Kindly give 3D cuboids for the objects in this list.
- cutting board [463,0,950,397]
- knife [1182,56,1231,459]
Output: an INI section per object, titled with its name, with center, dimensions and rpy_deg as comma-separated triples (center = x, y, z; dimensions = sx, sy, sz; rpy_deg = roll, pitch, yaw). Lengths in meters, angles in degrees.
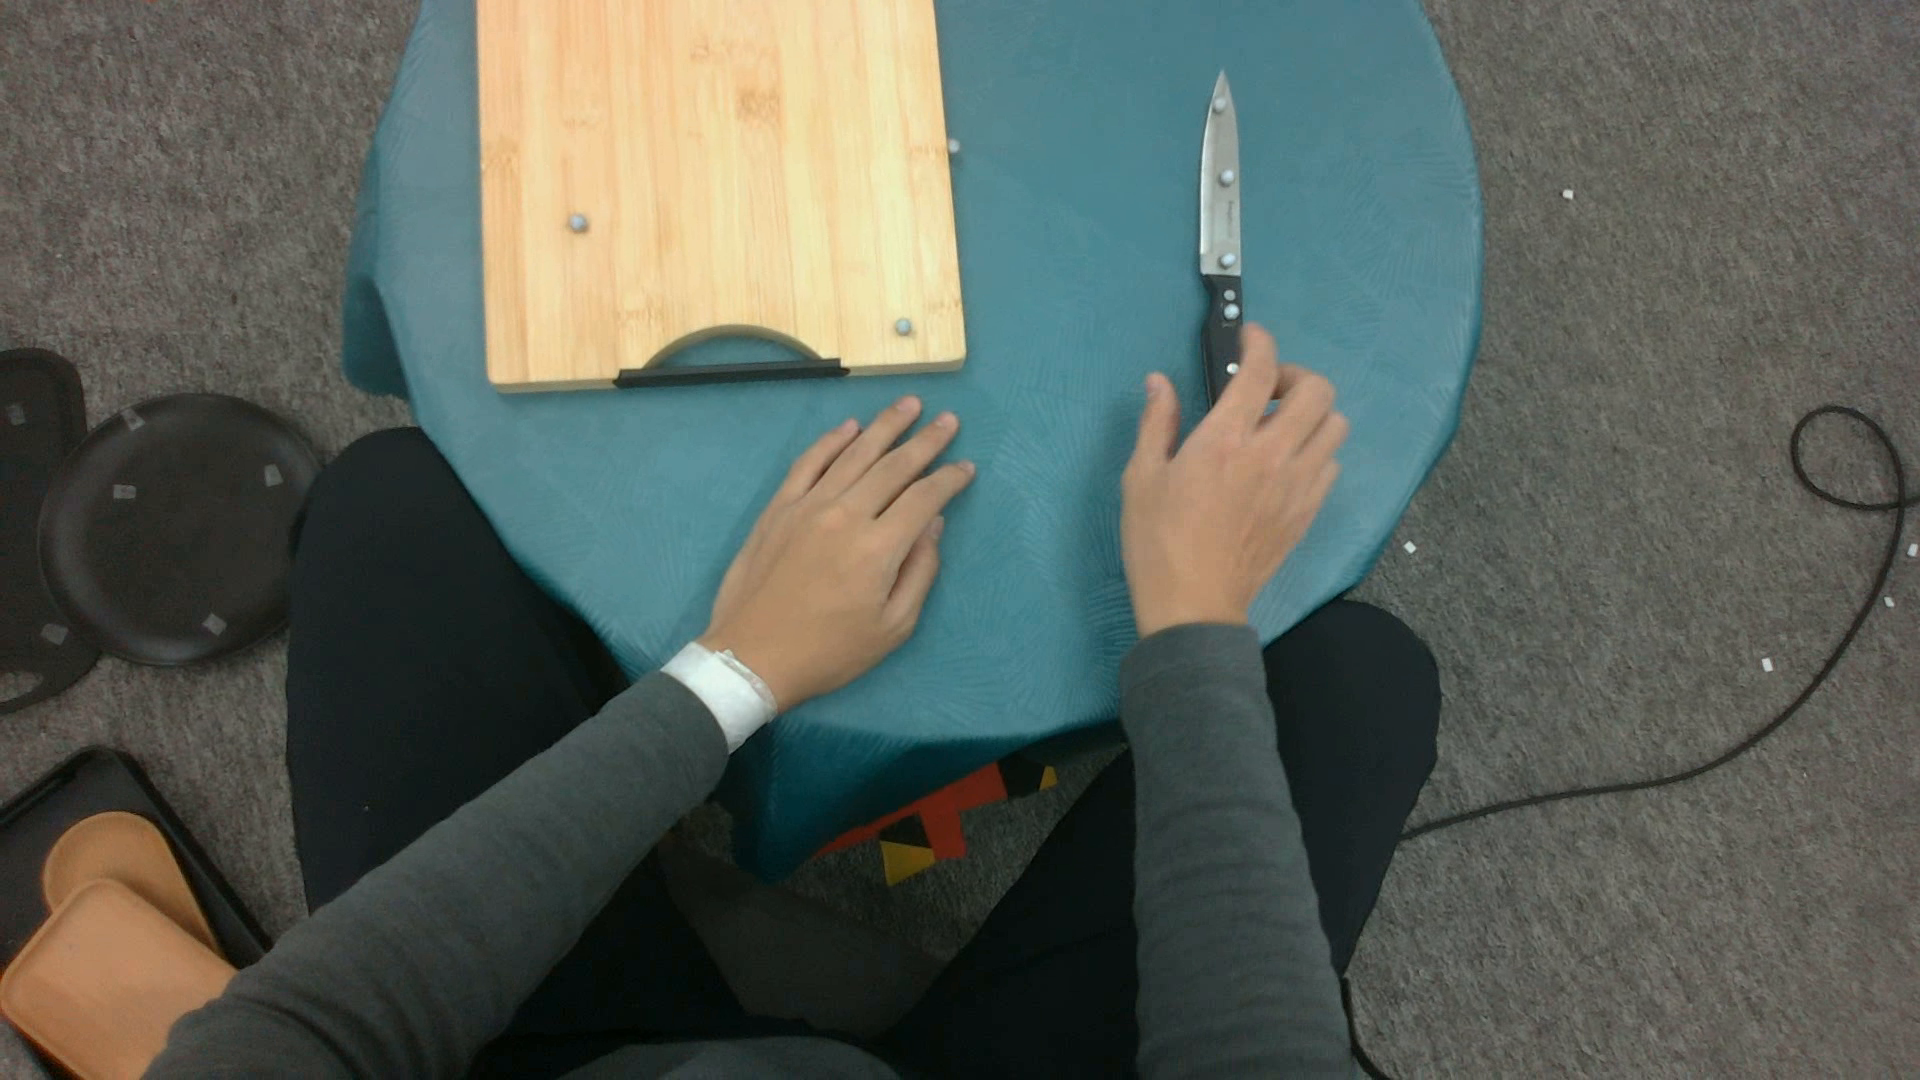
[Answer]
[cutting board]
center = -0.140, -0.250, 0.736
dimensions = 0.251, 0.023, 0.349
rpy_deg = -5, 79, -7
[knife]
center = 0.134, -0.158, 0.749
dimensions = 0.024, 0.016, 0.238
rpy_deg = 3, 75, -11
